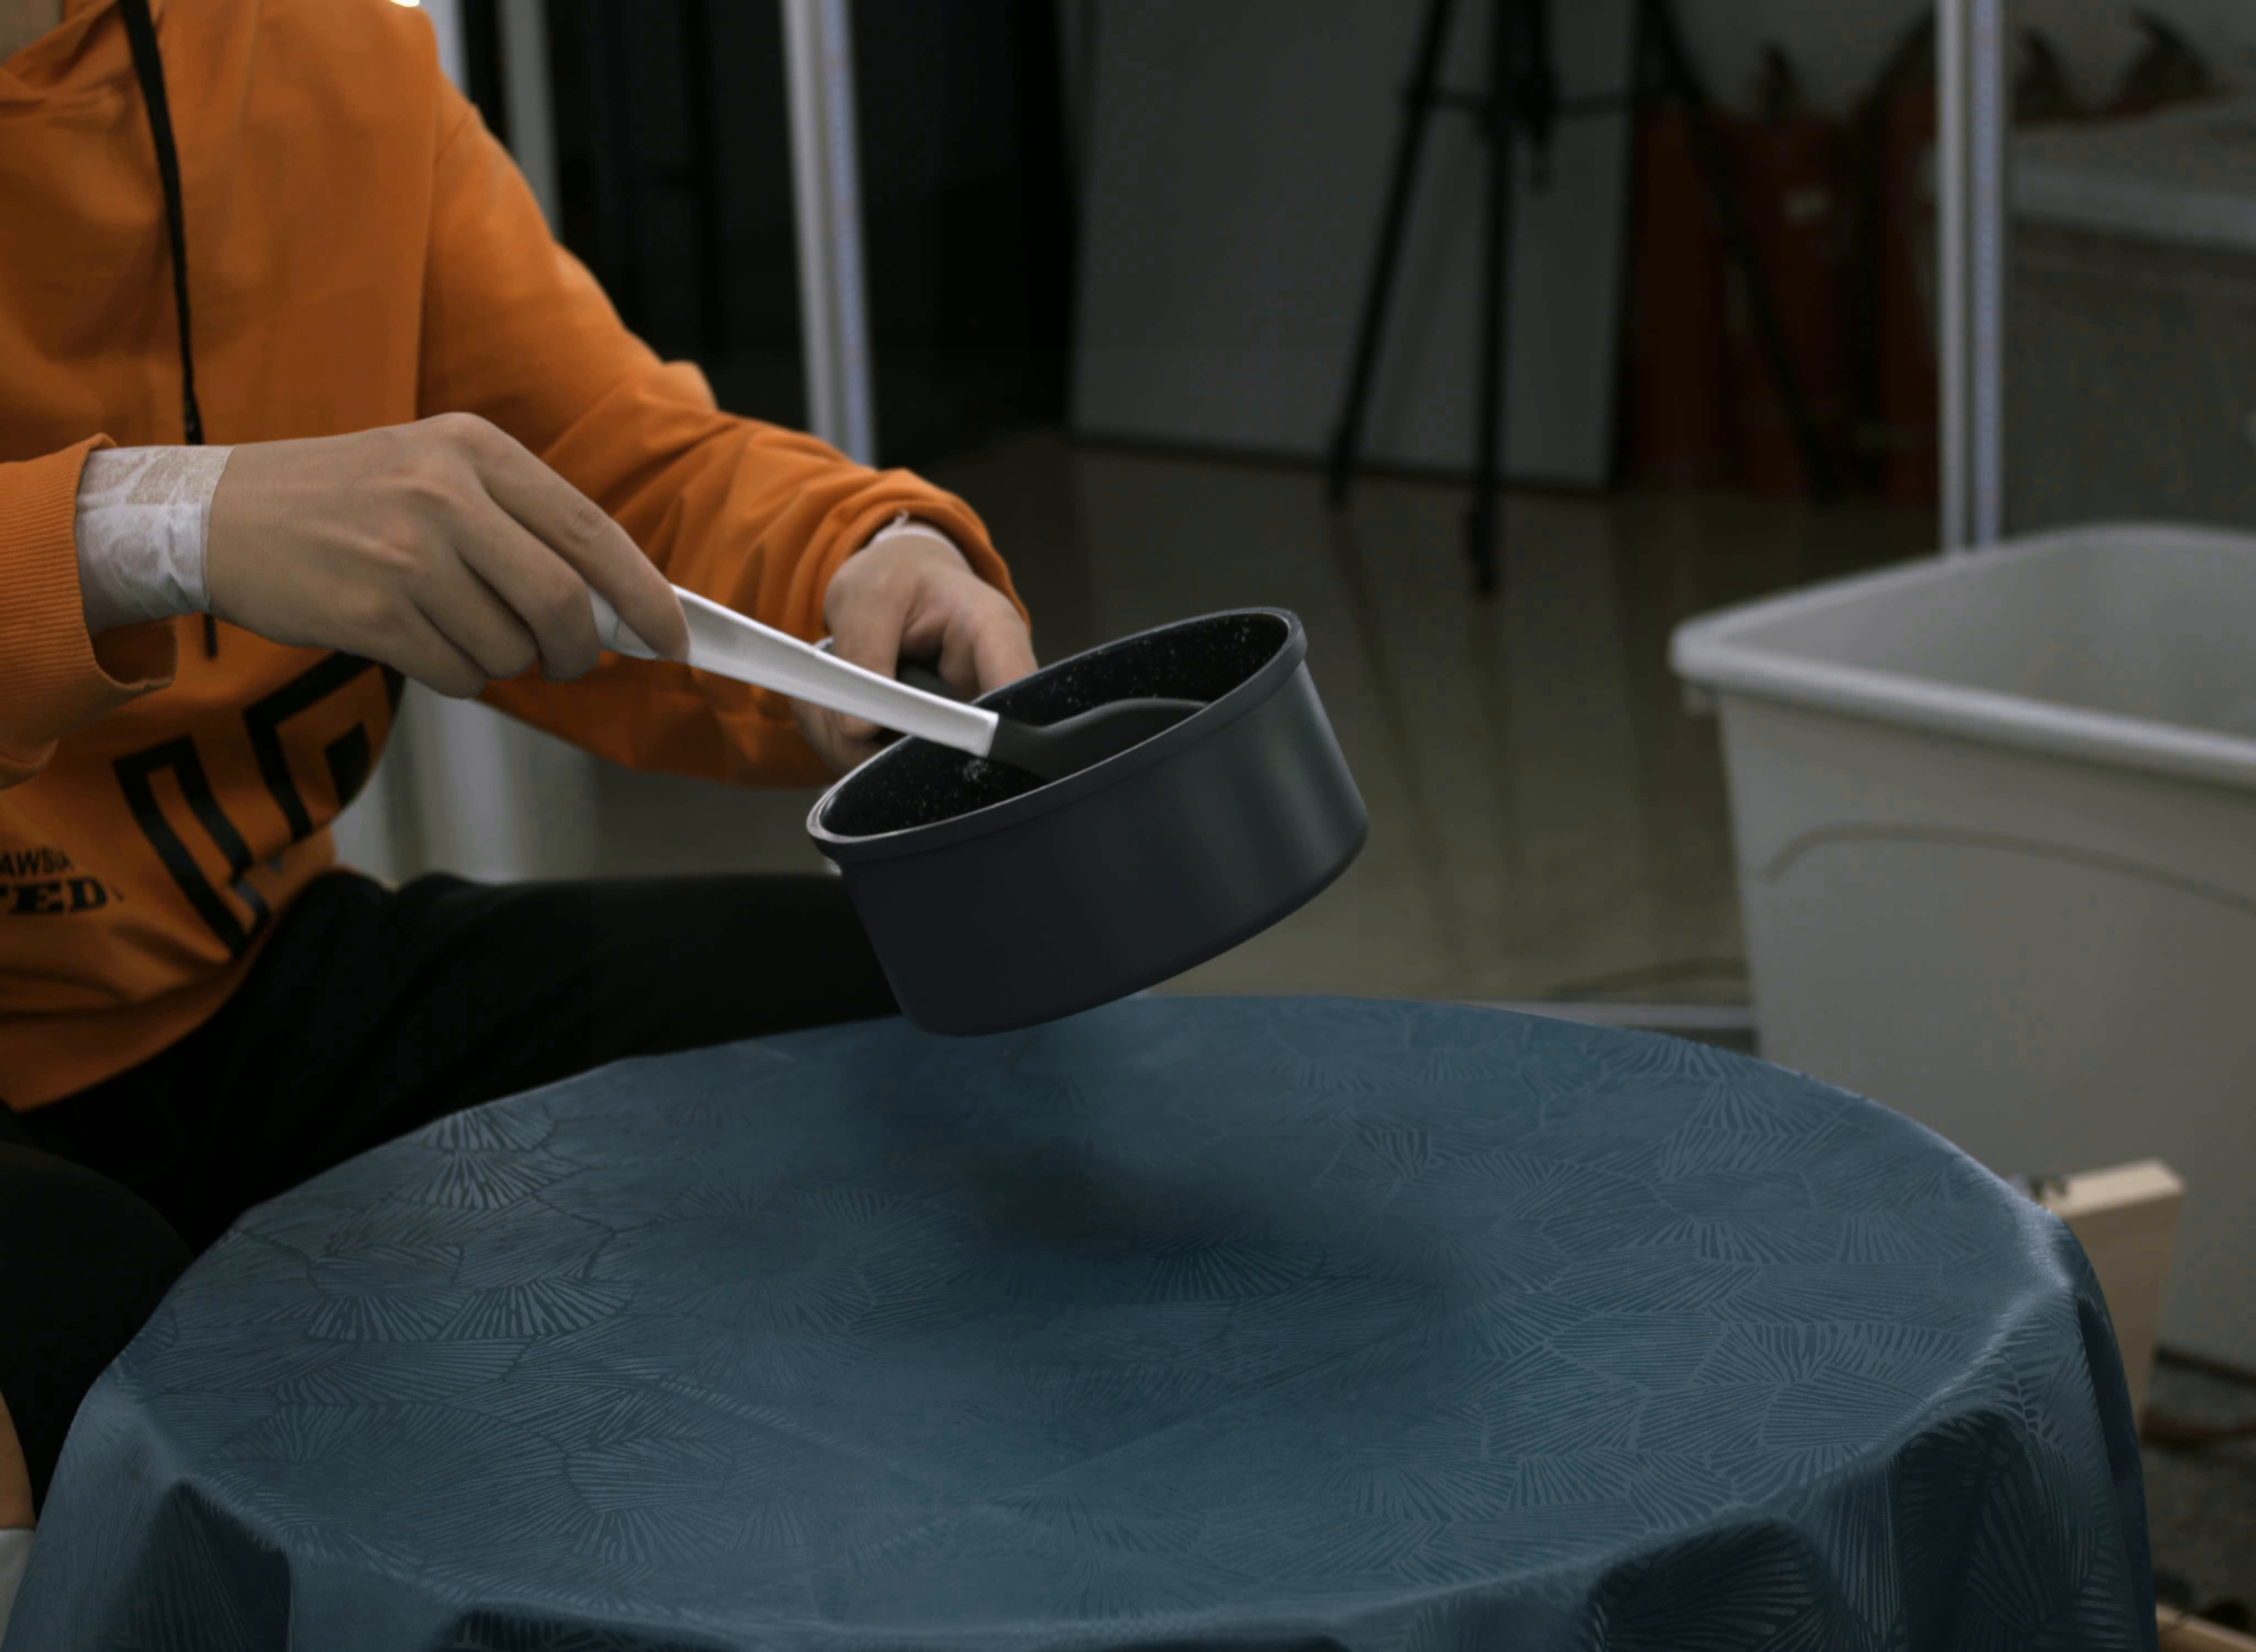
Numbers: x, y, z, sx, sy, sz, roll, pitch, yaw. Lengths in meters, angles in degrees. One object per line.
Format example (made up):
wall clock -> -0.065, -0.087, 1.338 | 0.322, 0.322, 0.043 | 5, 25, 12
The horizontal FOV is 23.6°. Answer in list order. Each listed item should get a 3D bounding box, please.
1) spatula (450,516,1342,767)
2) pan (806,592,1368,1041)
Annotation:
spatula -> -0.074, -0.047, 1.717 | 0.284, 0.059, 0.032 | 14, 36, 0
pan -> -0.035, -0.013, 1.789 | 0.169, 0.087, 0.331 | -26, 14, -12
